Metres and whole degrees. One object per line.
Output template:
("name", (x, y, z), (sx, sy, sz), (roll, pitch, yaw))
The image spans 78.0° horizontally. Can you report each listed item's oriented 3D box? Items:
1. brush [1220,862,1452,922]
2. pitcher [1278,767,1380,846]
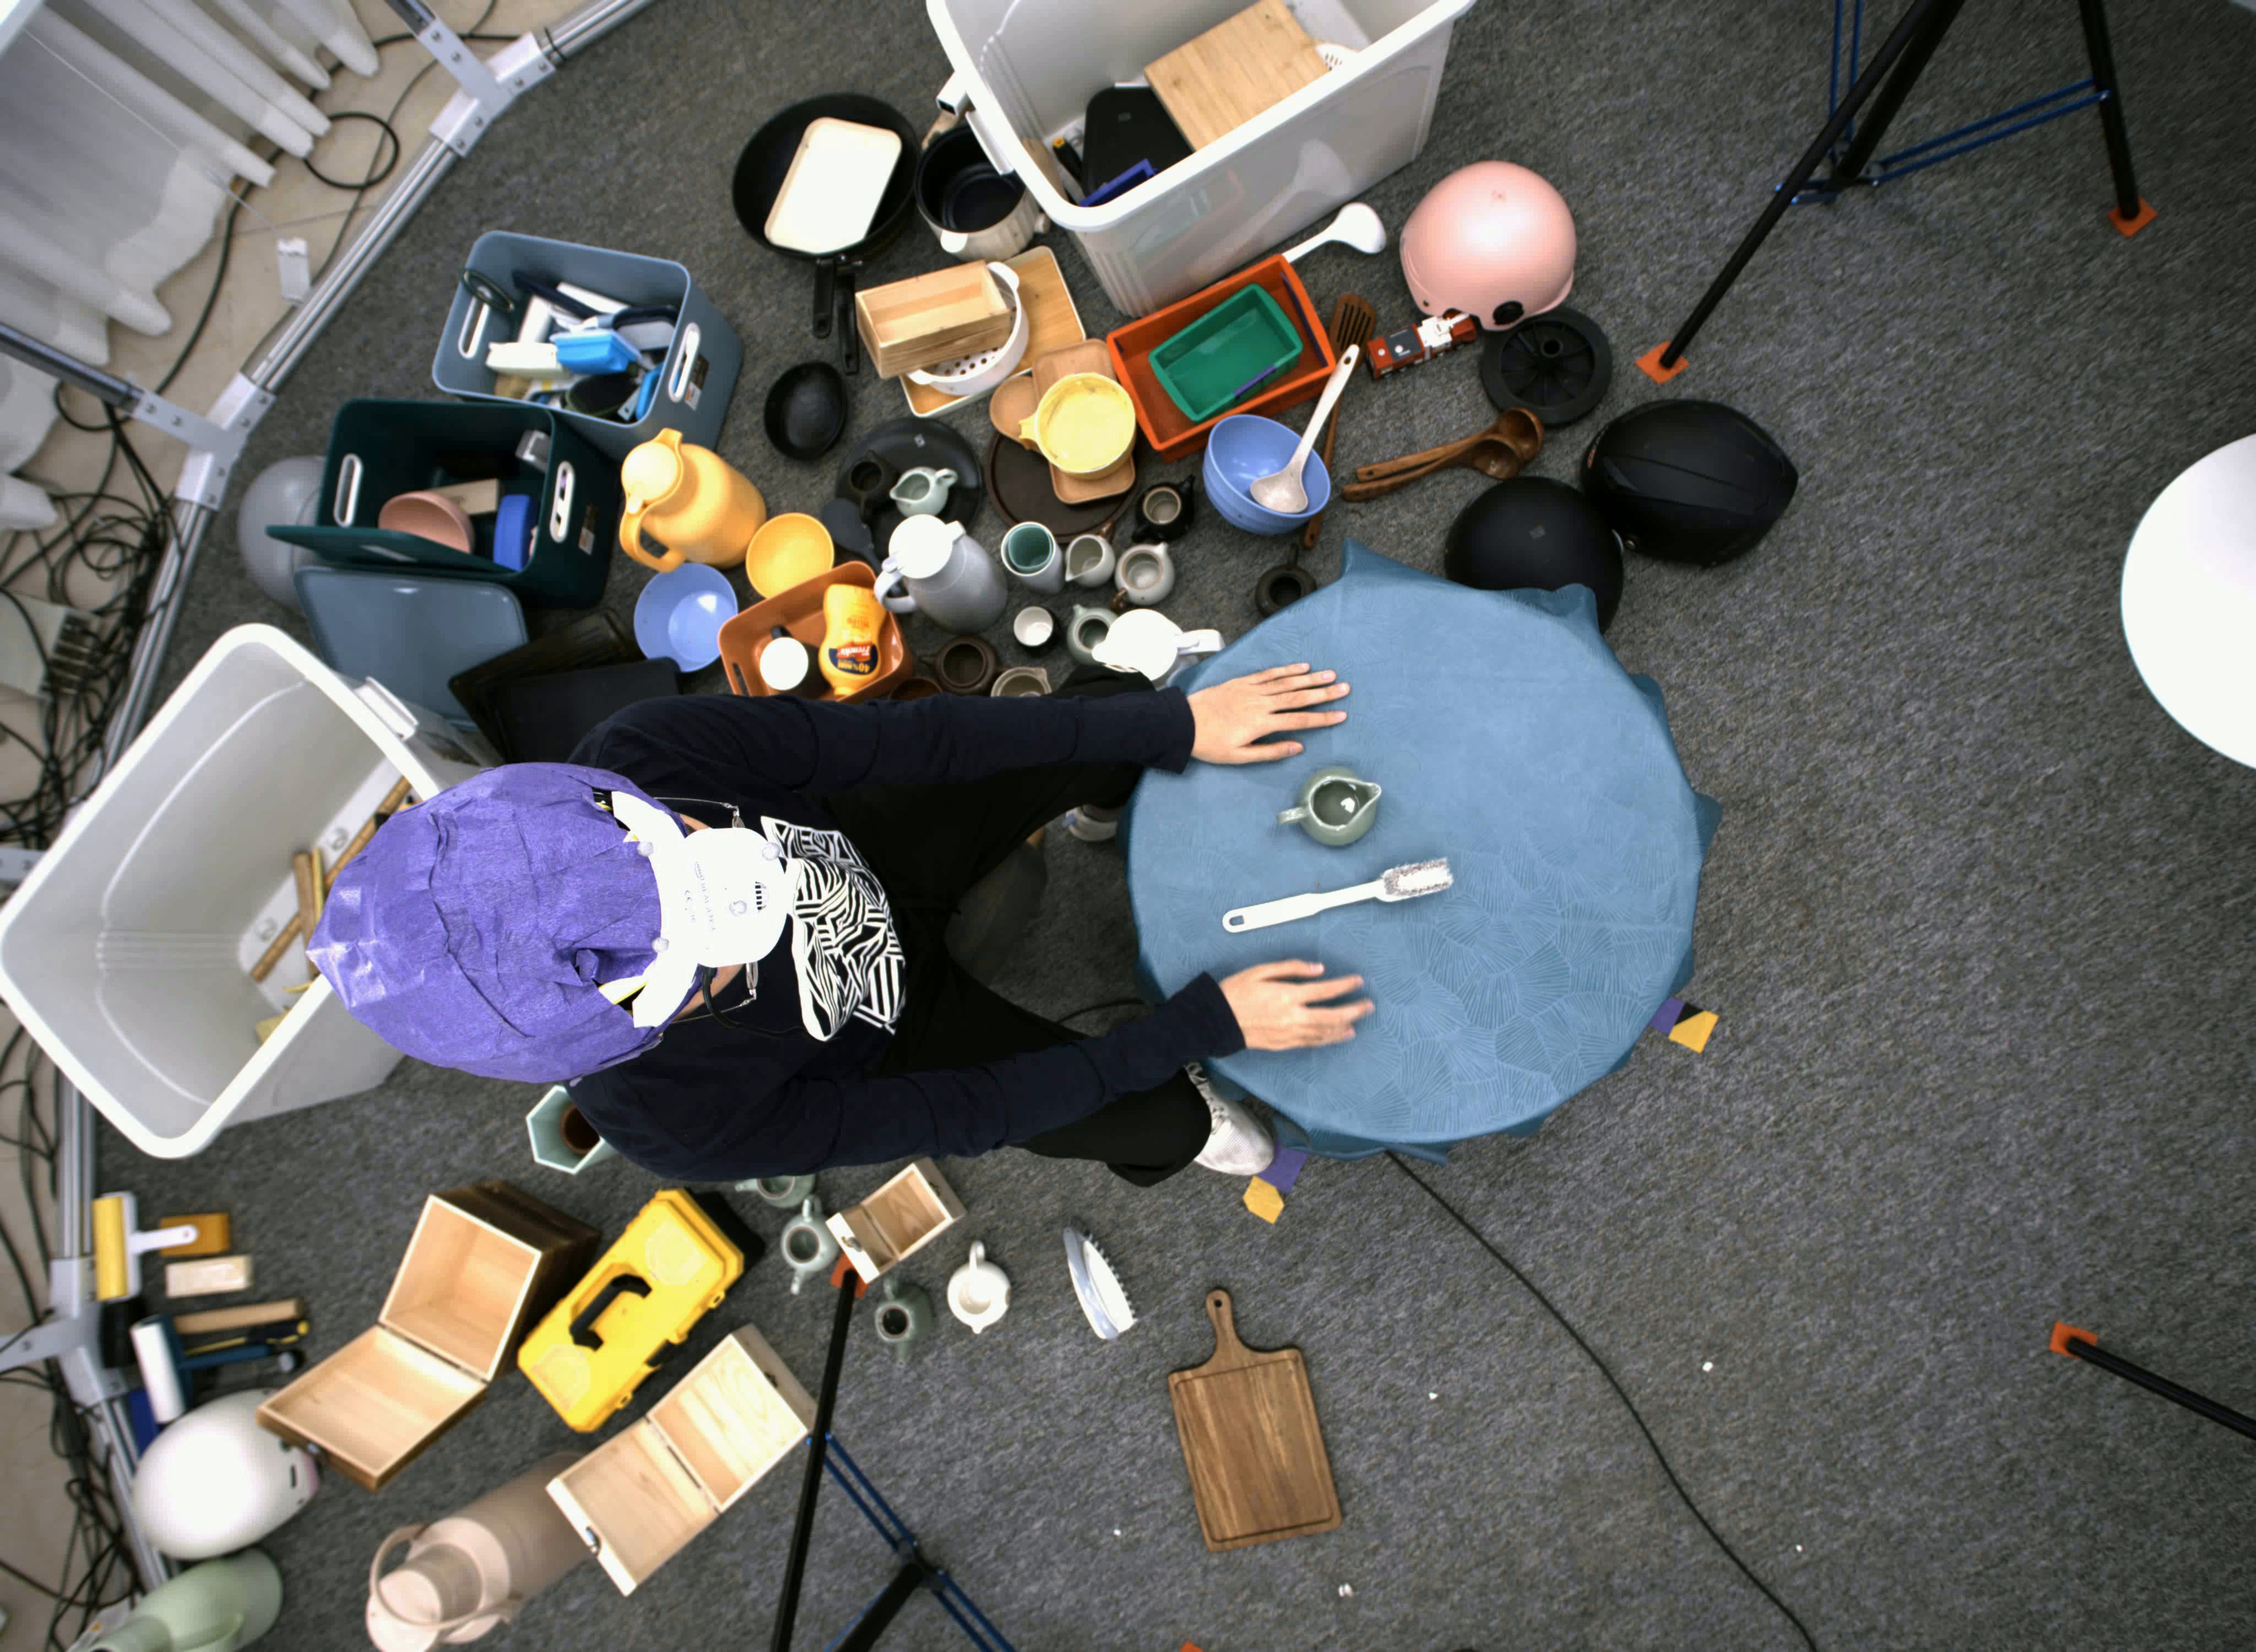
("brush", (0.214, 0.071, 1.445), (0.245, 0.050, 0.034), (-10, 89, 10))
("pitcher", (0.211, -0.020, 1.446), (0.113, 0.056, 0.083), (-21, 82, 10))
